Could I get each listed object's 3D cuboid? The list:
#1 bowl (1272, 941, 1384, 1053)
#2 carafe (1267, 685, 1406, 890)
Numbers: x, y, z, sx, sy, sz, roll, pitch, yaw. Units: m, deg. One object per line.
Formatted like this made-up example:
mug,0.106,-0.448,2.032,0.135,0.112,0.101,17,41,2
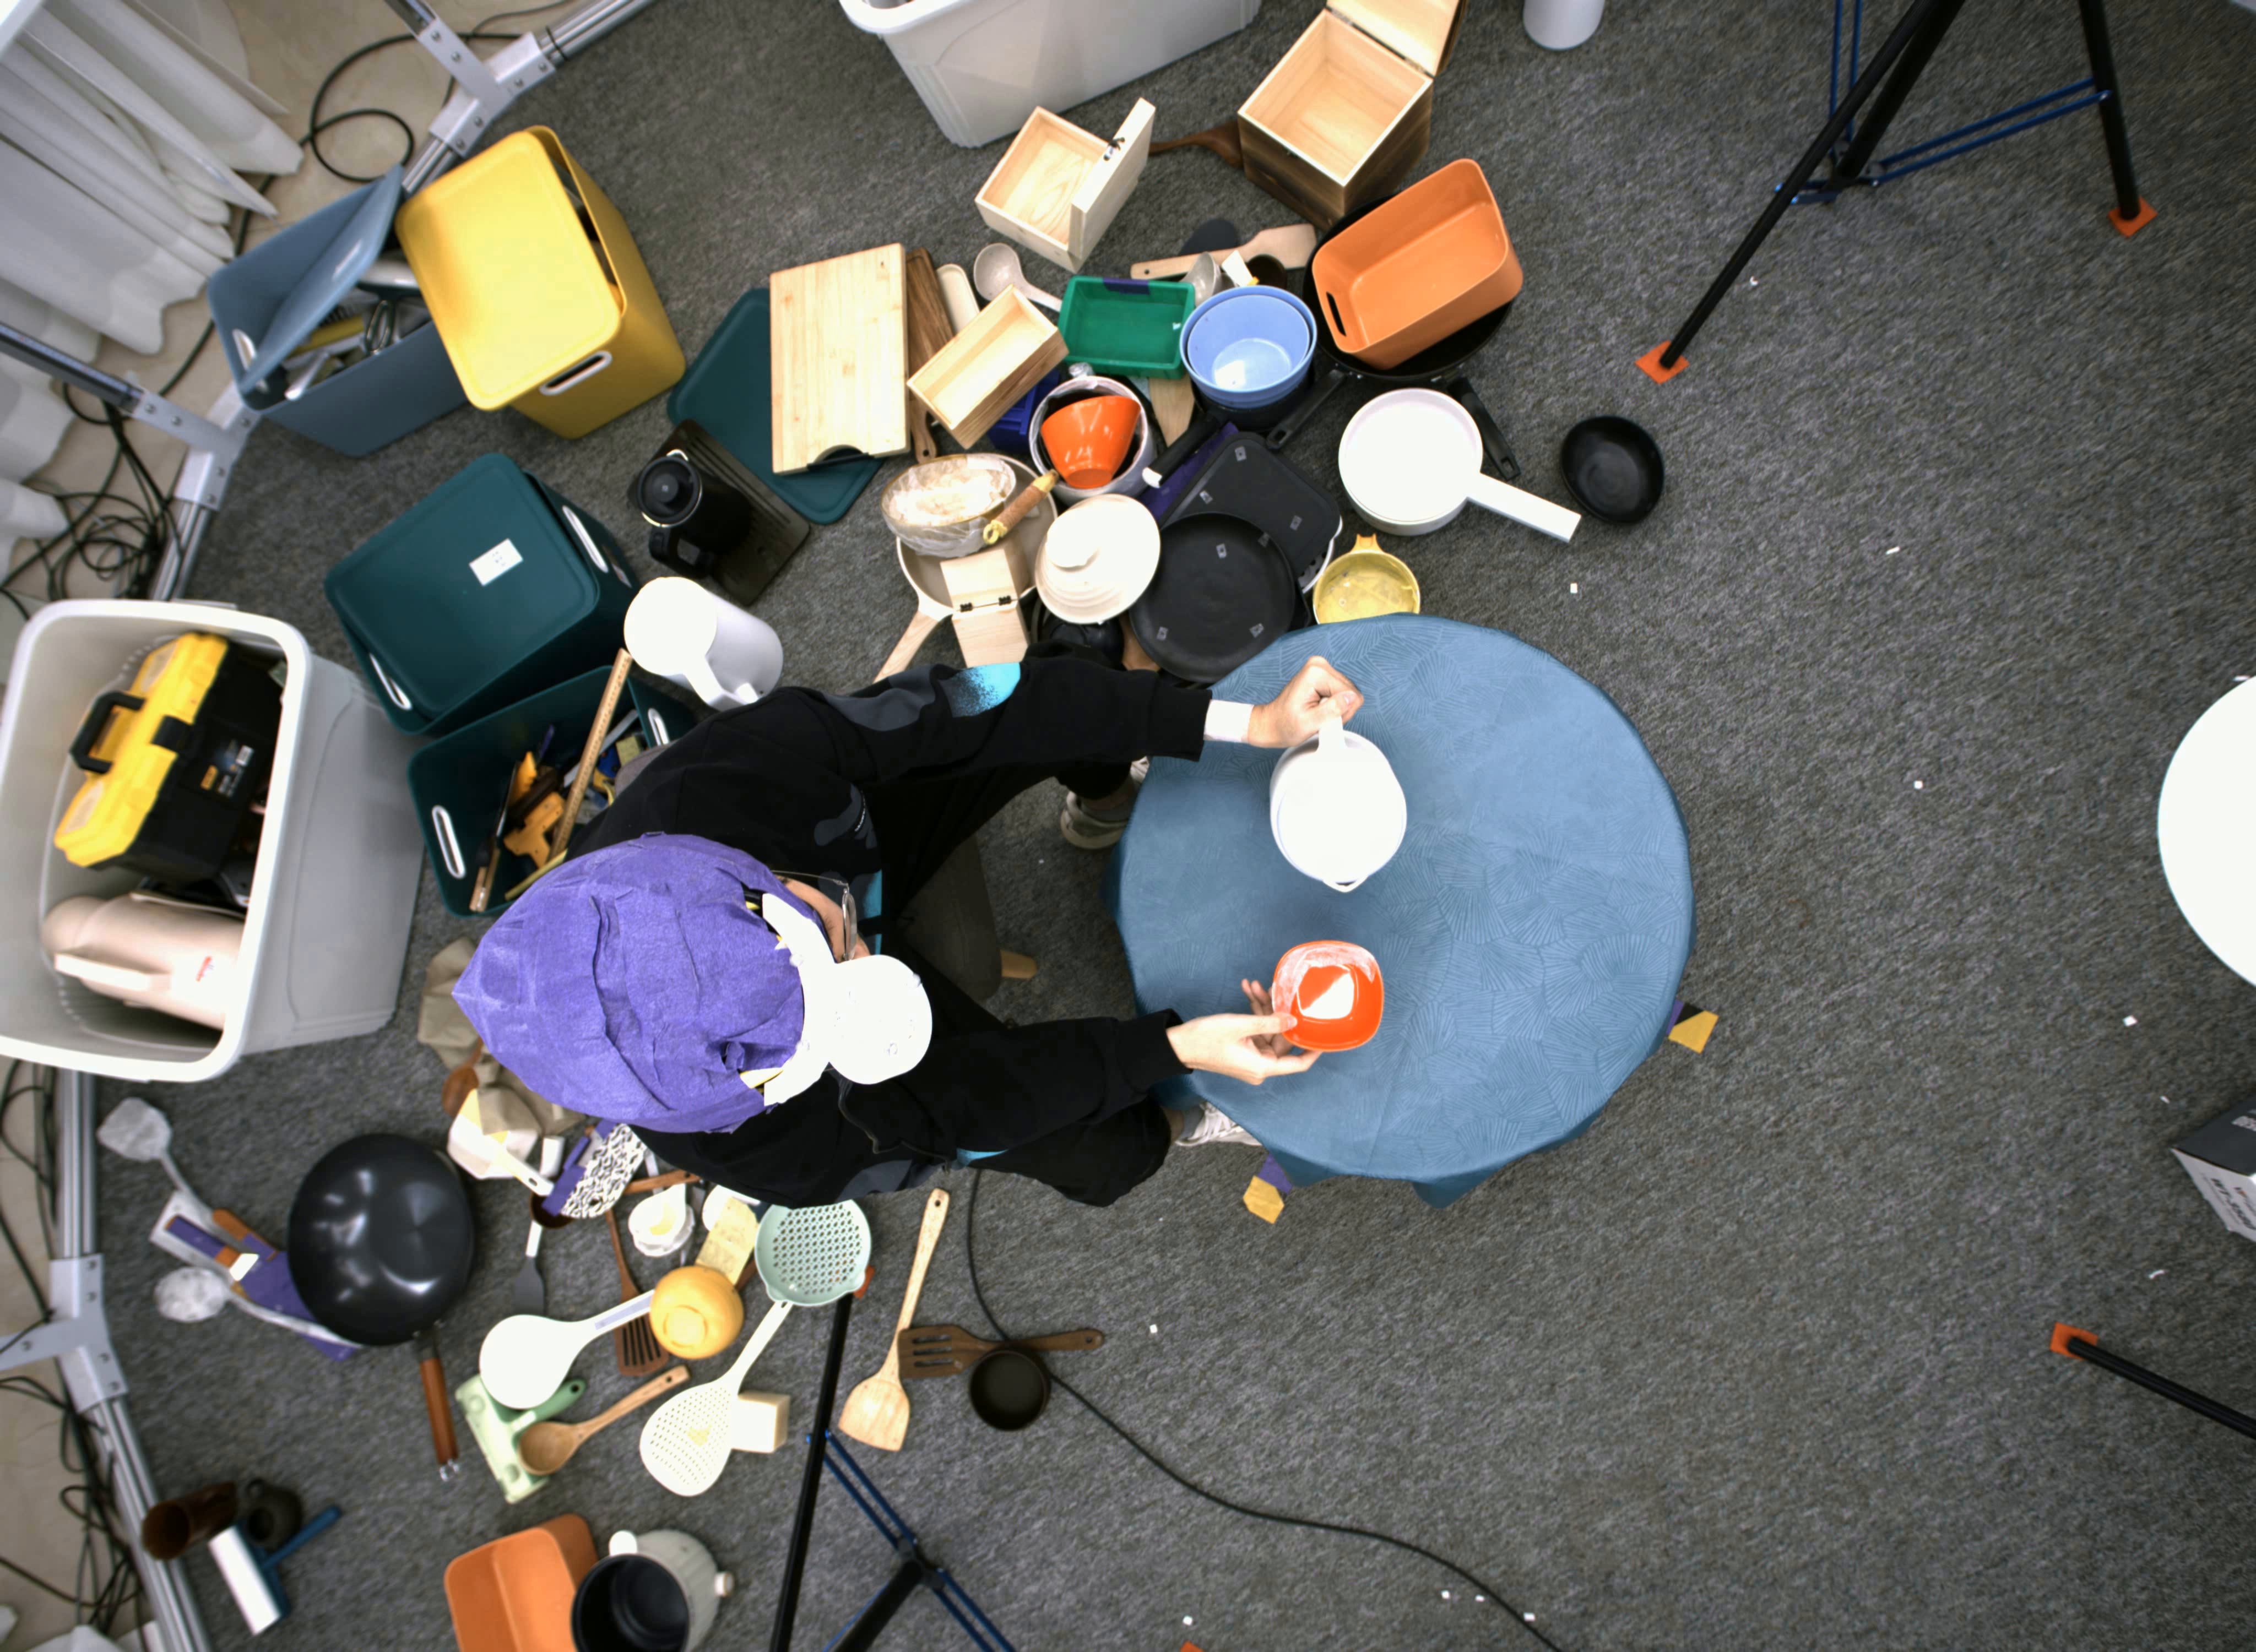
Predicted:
bowl,0.198,0.167,1.384,0.119,0.051,0.119,0,94,4
carafe,0.201,-0.045,1.367,0.133,0.180,0.192,-8,99,6
